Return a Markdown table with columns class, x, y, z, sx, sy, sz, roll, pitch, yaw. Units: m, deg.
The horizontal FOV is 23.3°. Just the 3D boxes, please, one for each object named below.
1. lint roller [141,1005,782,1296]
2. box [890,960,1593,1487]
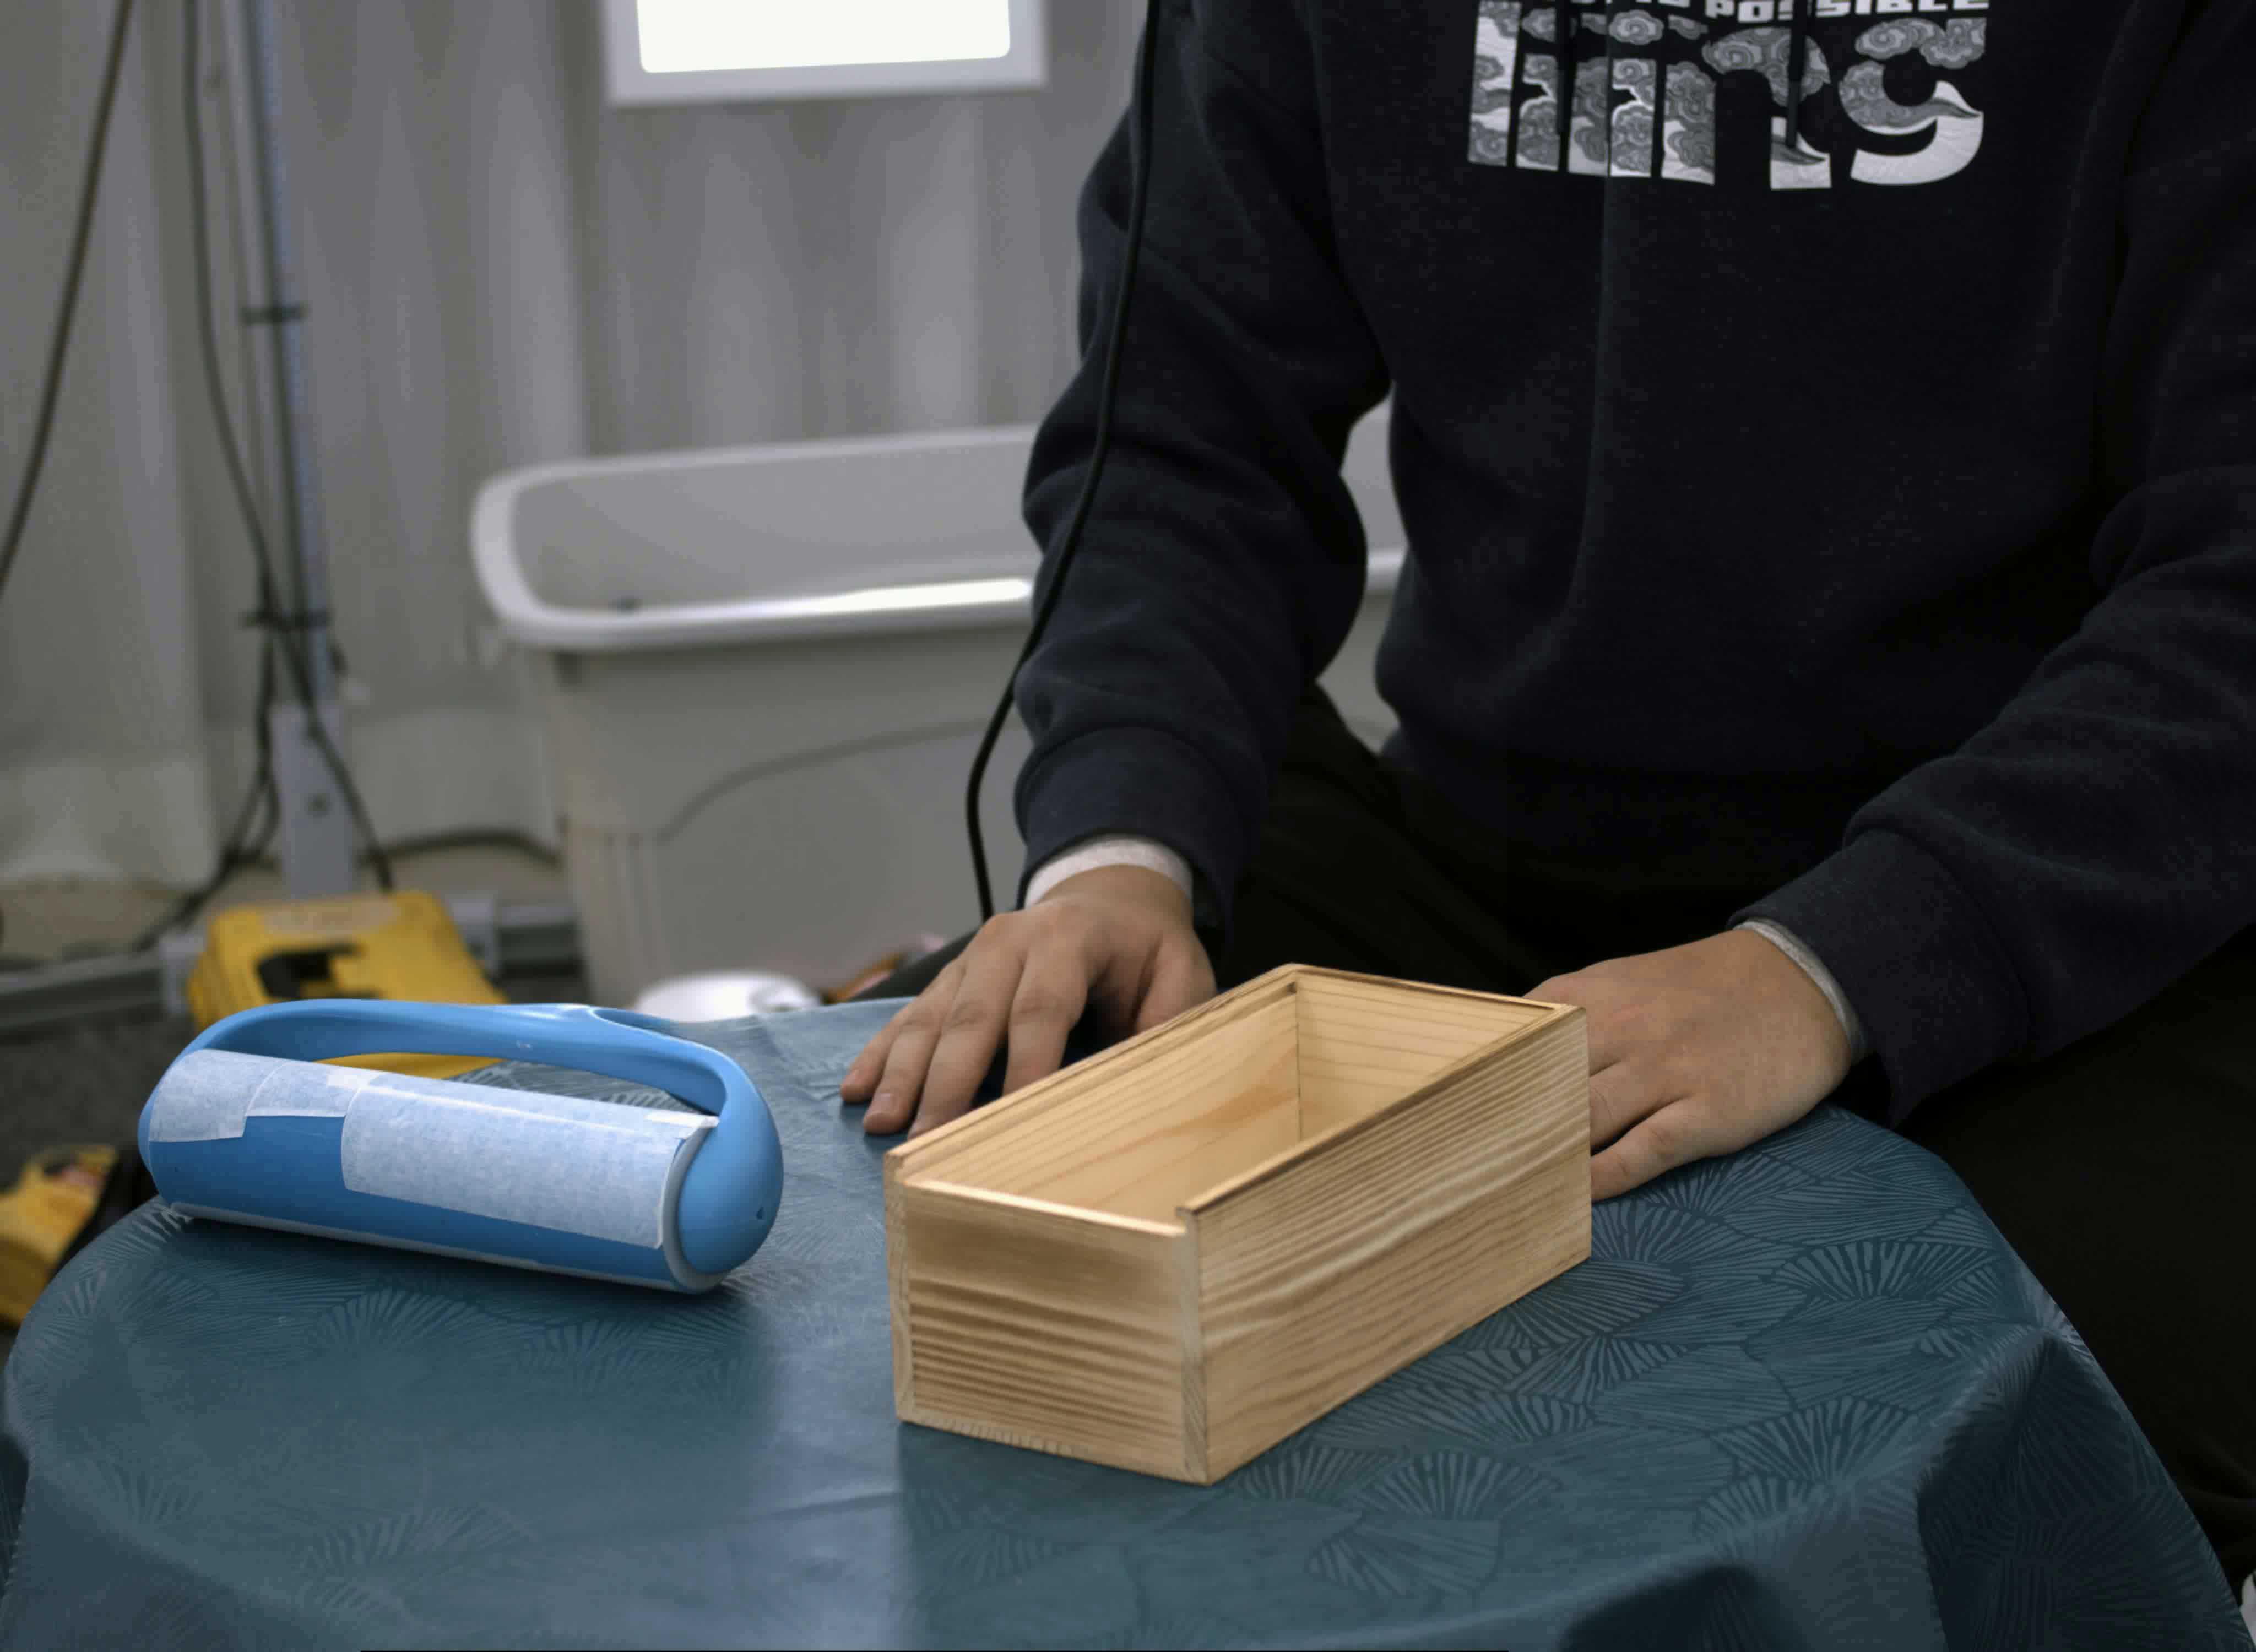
| class | x | y | z | sx | sy | sz | roll | pitch | yaw |
| --- | --- | --- | --- | --- | --- | --- | --- | --- | --- |
| lint roller | -0.181 | 0.089 | 1.732 | 0.229 | 0.067 | 0.180 | 3 | 18 | 28 |
| box | 0.037 | 0.110 | 1.576 | 0.108 | 0.080 | 0.211 | 7 | 18 | 33 |
